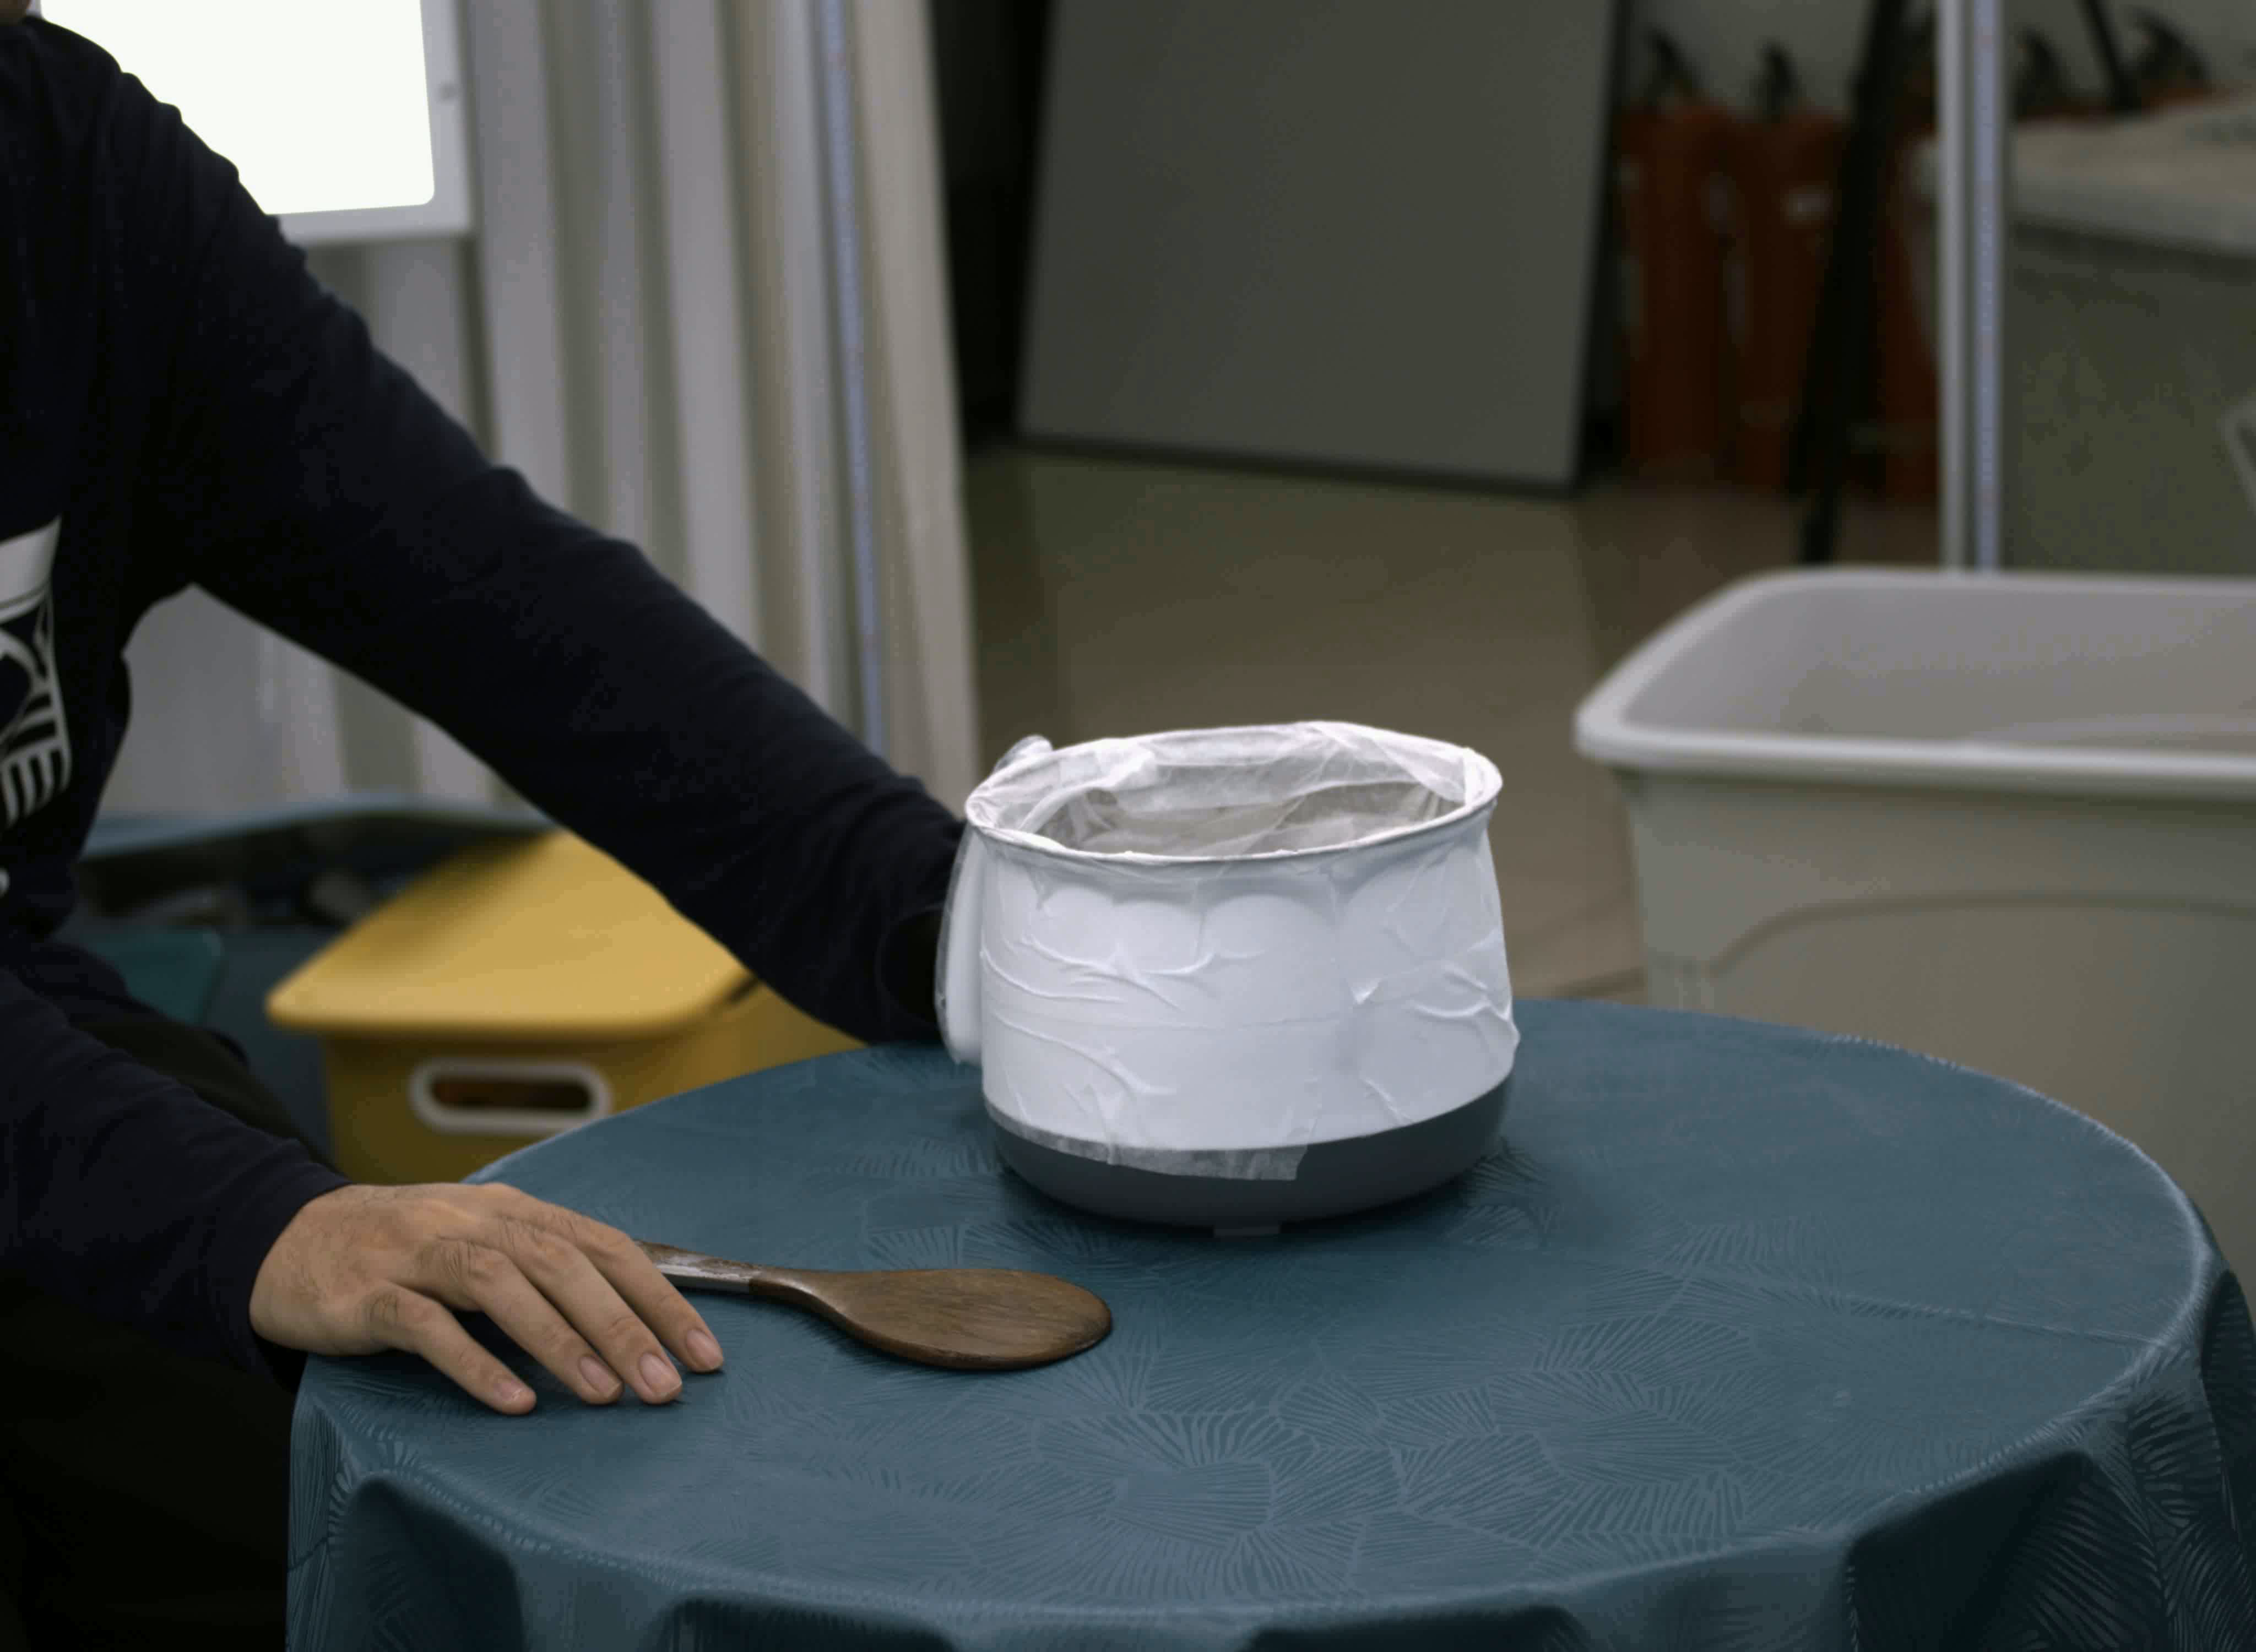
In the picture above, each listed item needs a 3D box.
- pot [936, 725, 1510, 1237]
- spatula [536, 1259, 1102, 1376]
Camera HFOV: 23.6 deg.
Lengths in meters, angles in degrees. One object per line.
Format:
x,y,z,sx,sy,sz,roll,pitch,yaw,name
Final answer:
0.019,0.044,1.789,0.175,0.138,0.236,-12,16,-42,pot
-0.099,0.149,1.684,0.217,0.009,0.070,5,14,36,spatula
